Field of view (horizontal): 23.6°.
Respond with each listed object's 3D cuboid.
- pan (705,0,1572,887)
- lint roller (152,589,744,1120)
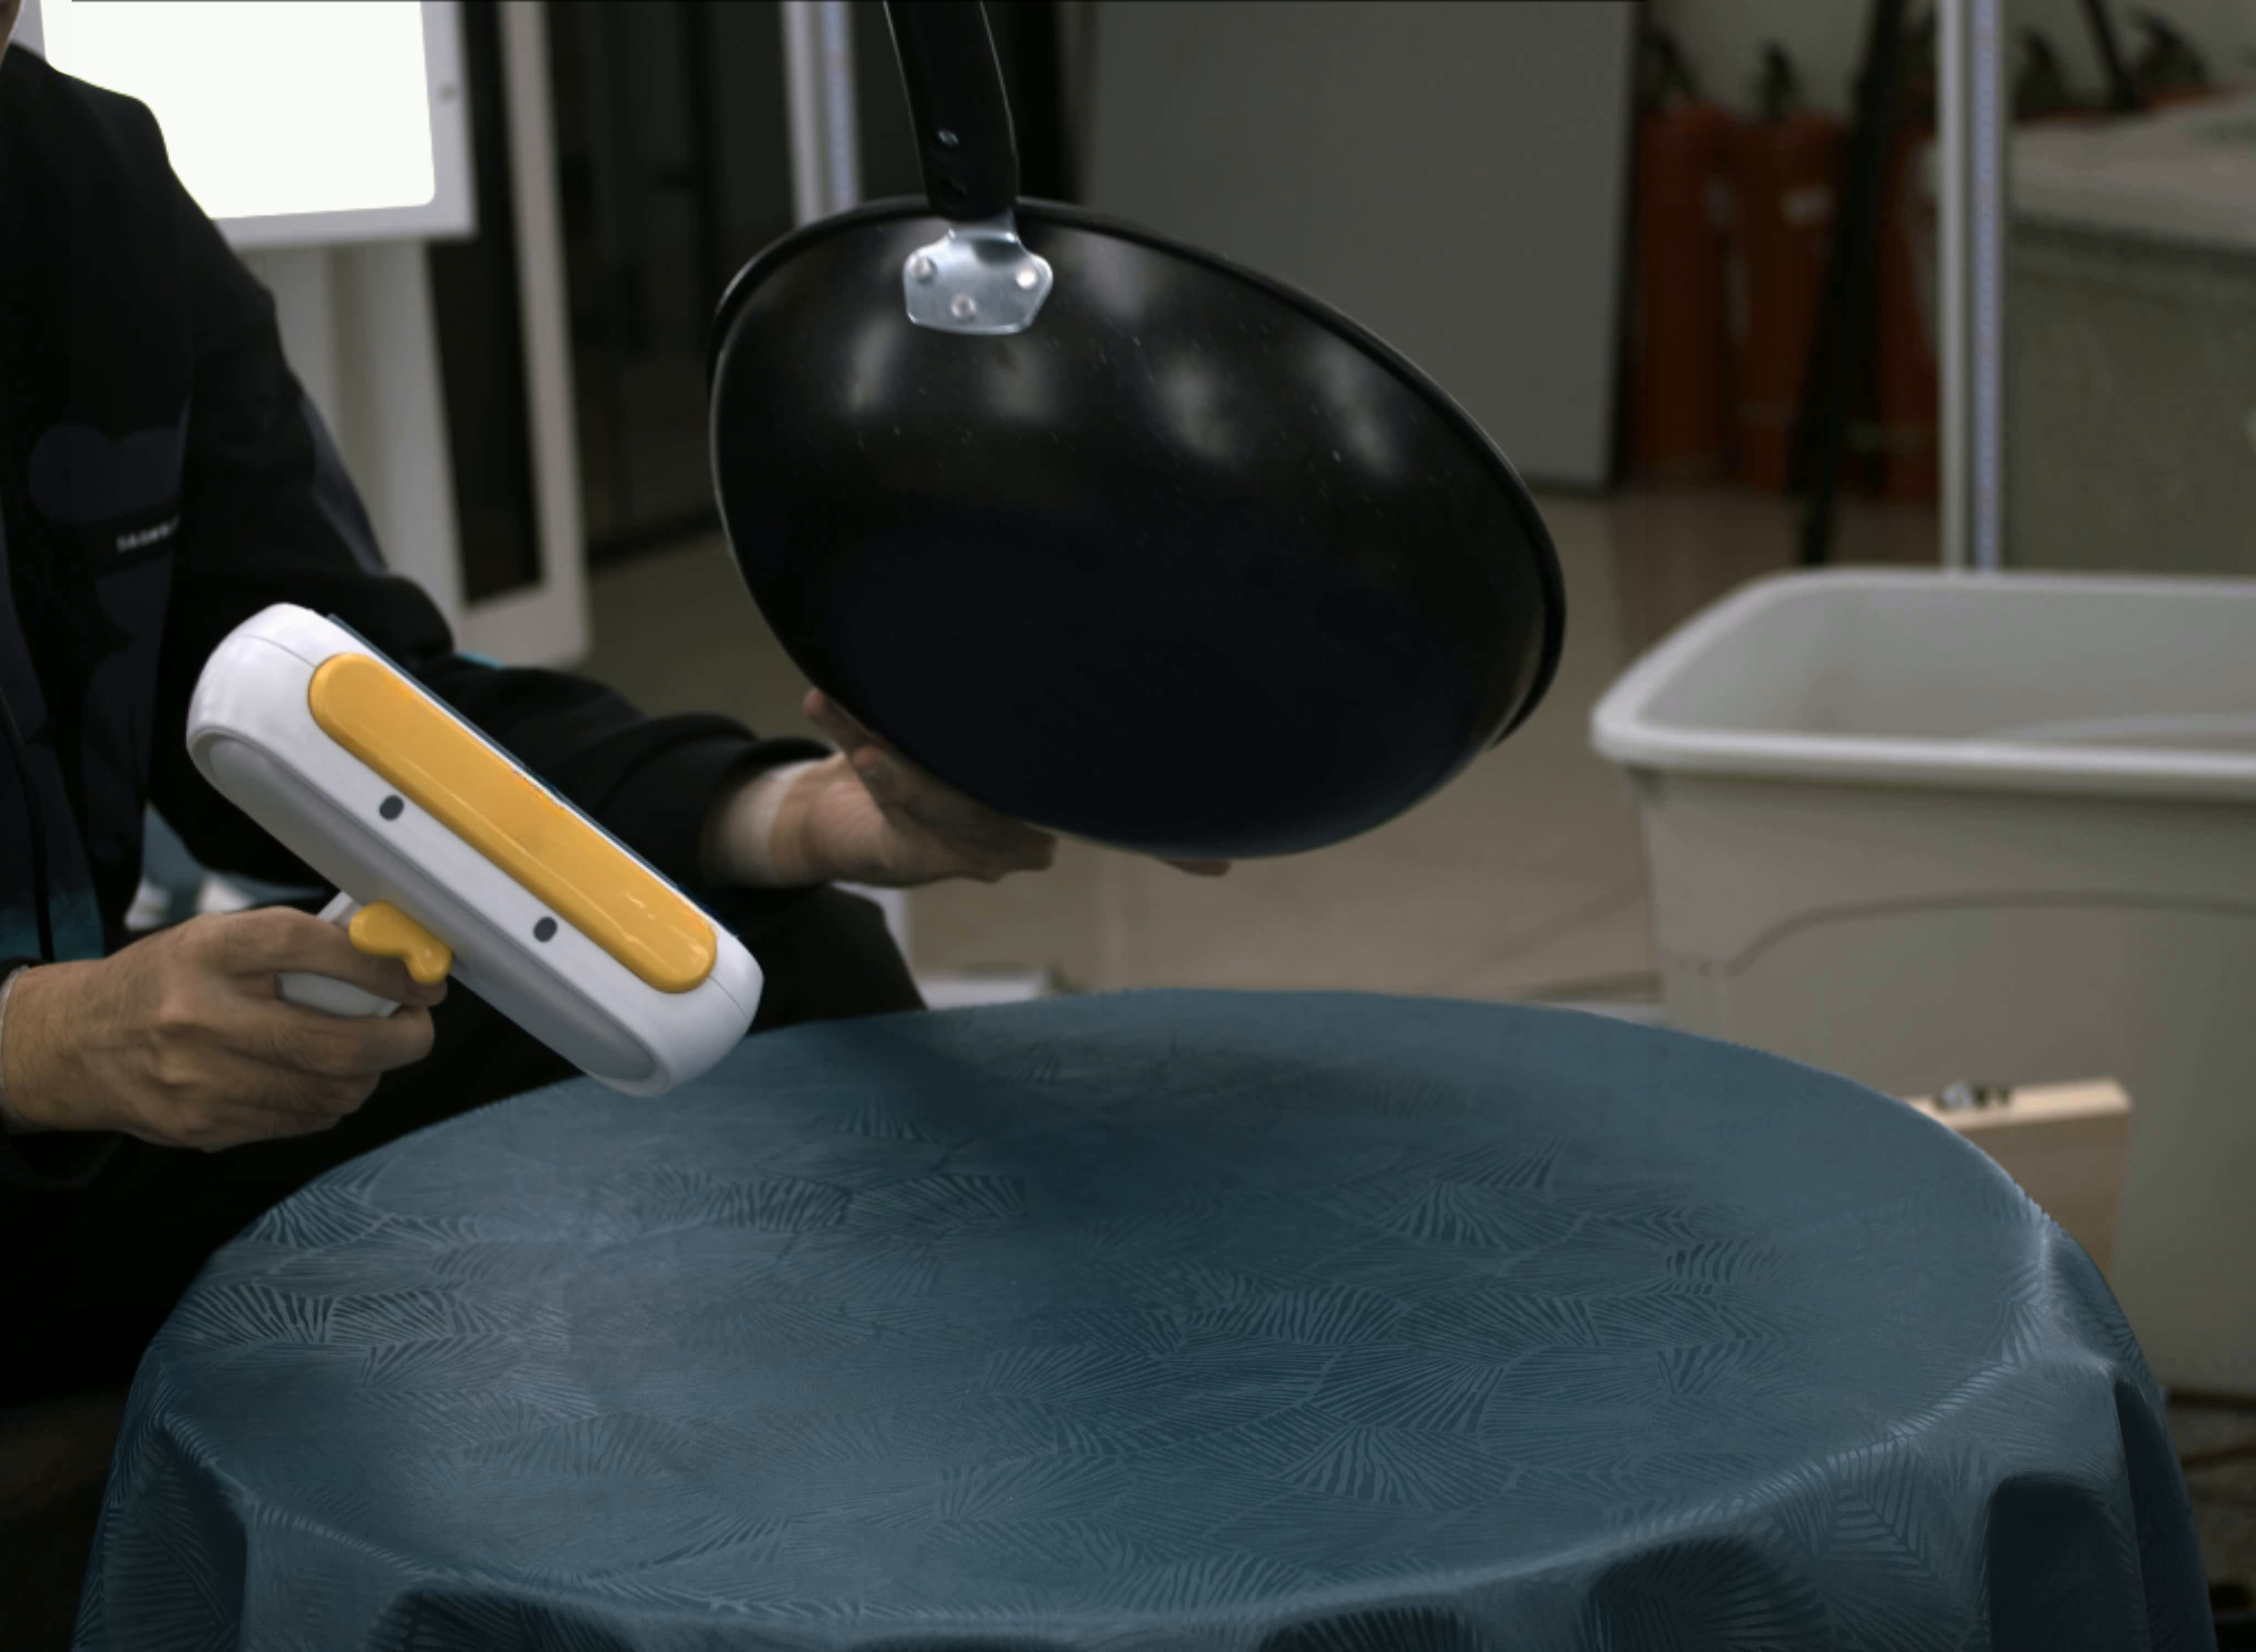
[{"bbox_3d":[-0.030,-0.131,1.747,0.311,0.475,0.112,6,54,25],"label":"pan"},{"bbox_3d":[-0.225,0.030,1.633,0.194,0.191,0.074,-42,18,56],"label":"lint roller"}]
